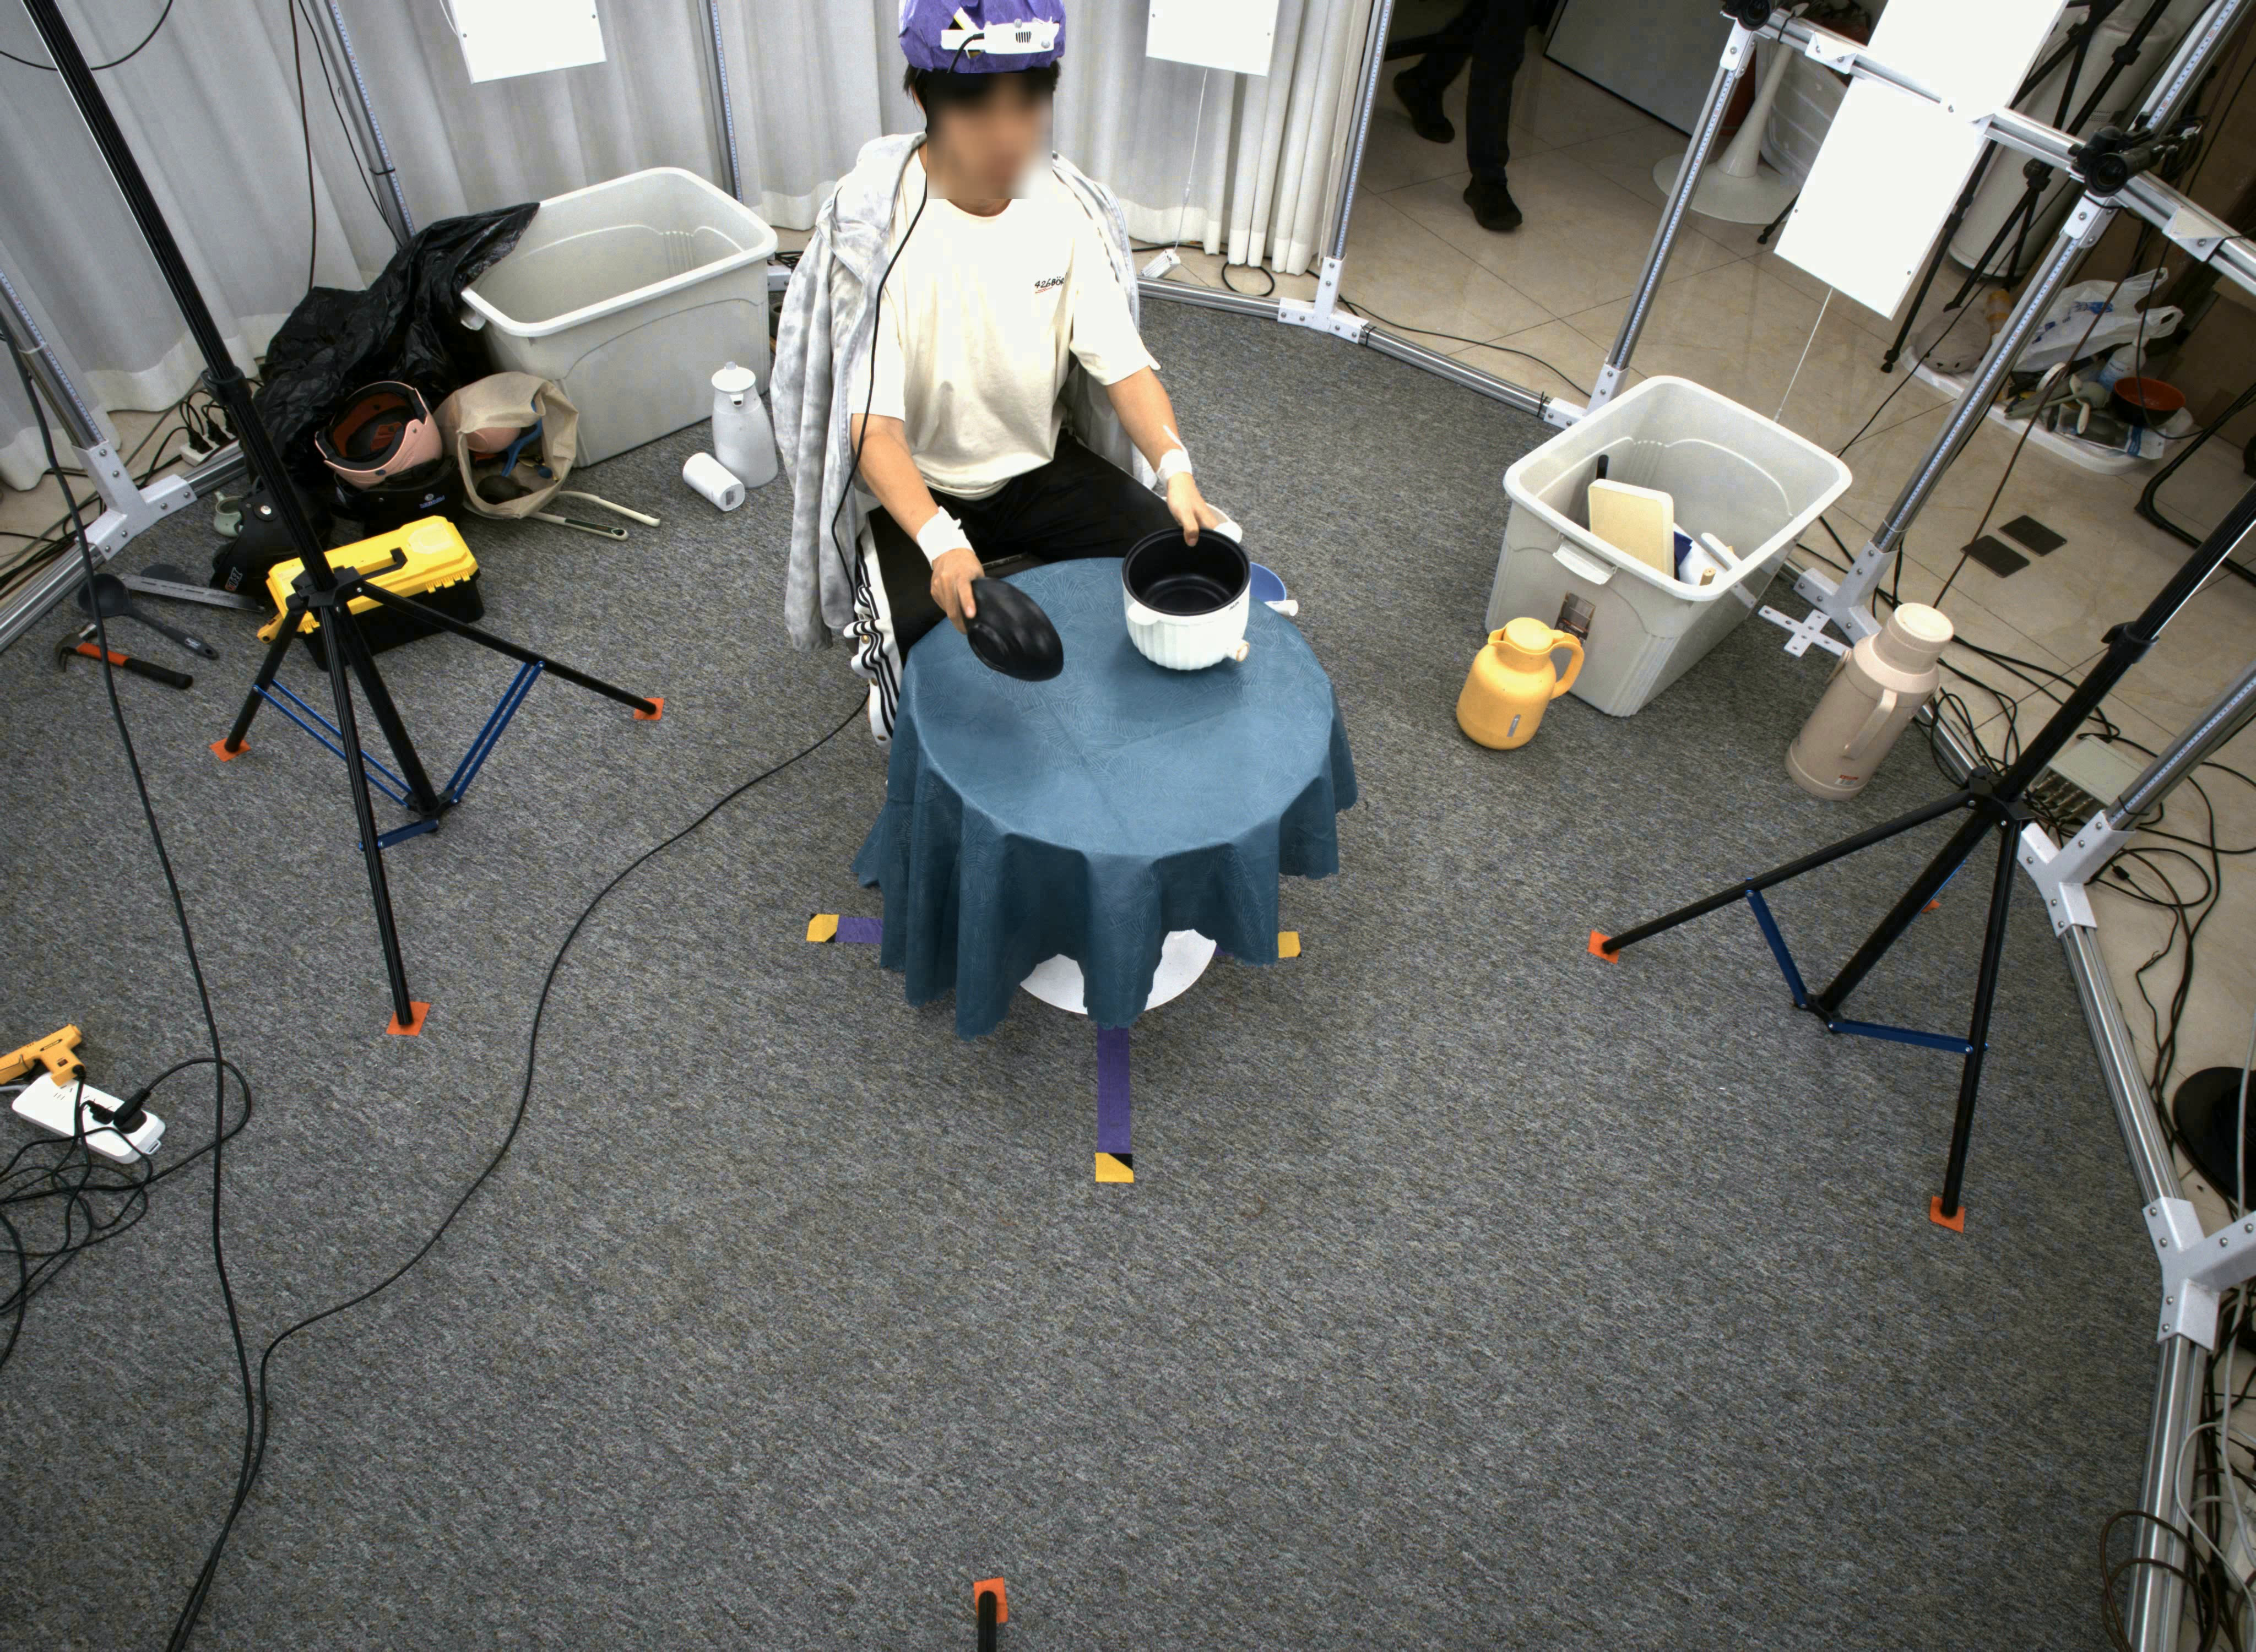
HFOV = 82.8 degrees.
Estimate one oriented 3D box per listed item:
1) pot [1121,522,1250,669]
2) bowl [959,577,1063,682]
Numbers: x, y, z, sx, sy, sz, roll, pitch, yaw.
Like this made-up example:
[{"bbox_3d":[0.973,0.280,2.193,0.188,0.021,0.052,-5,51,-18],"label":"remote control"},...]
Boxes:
[{"bbox_3d":[0.089,-0.319,1.847,0.193,0.139,0.243,28,59,27],"label":"pot"},{"bbox_3d":[-0.164,-0.248,1.679,0.170,0.135,0.067,46,61,0],"label":"bowl"}]
